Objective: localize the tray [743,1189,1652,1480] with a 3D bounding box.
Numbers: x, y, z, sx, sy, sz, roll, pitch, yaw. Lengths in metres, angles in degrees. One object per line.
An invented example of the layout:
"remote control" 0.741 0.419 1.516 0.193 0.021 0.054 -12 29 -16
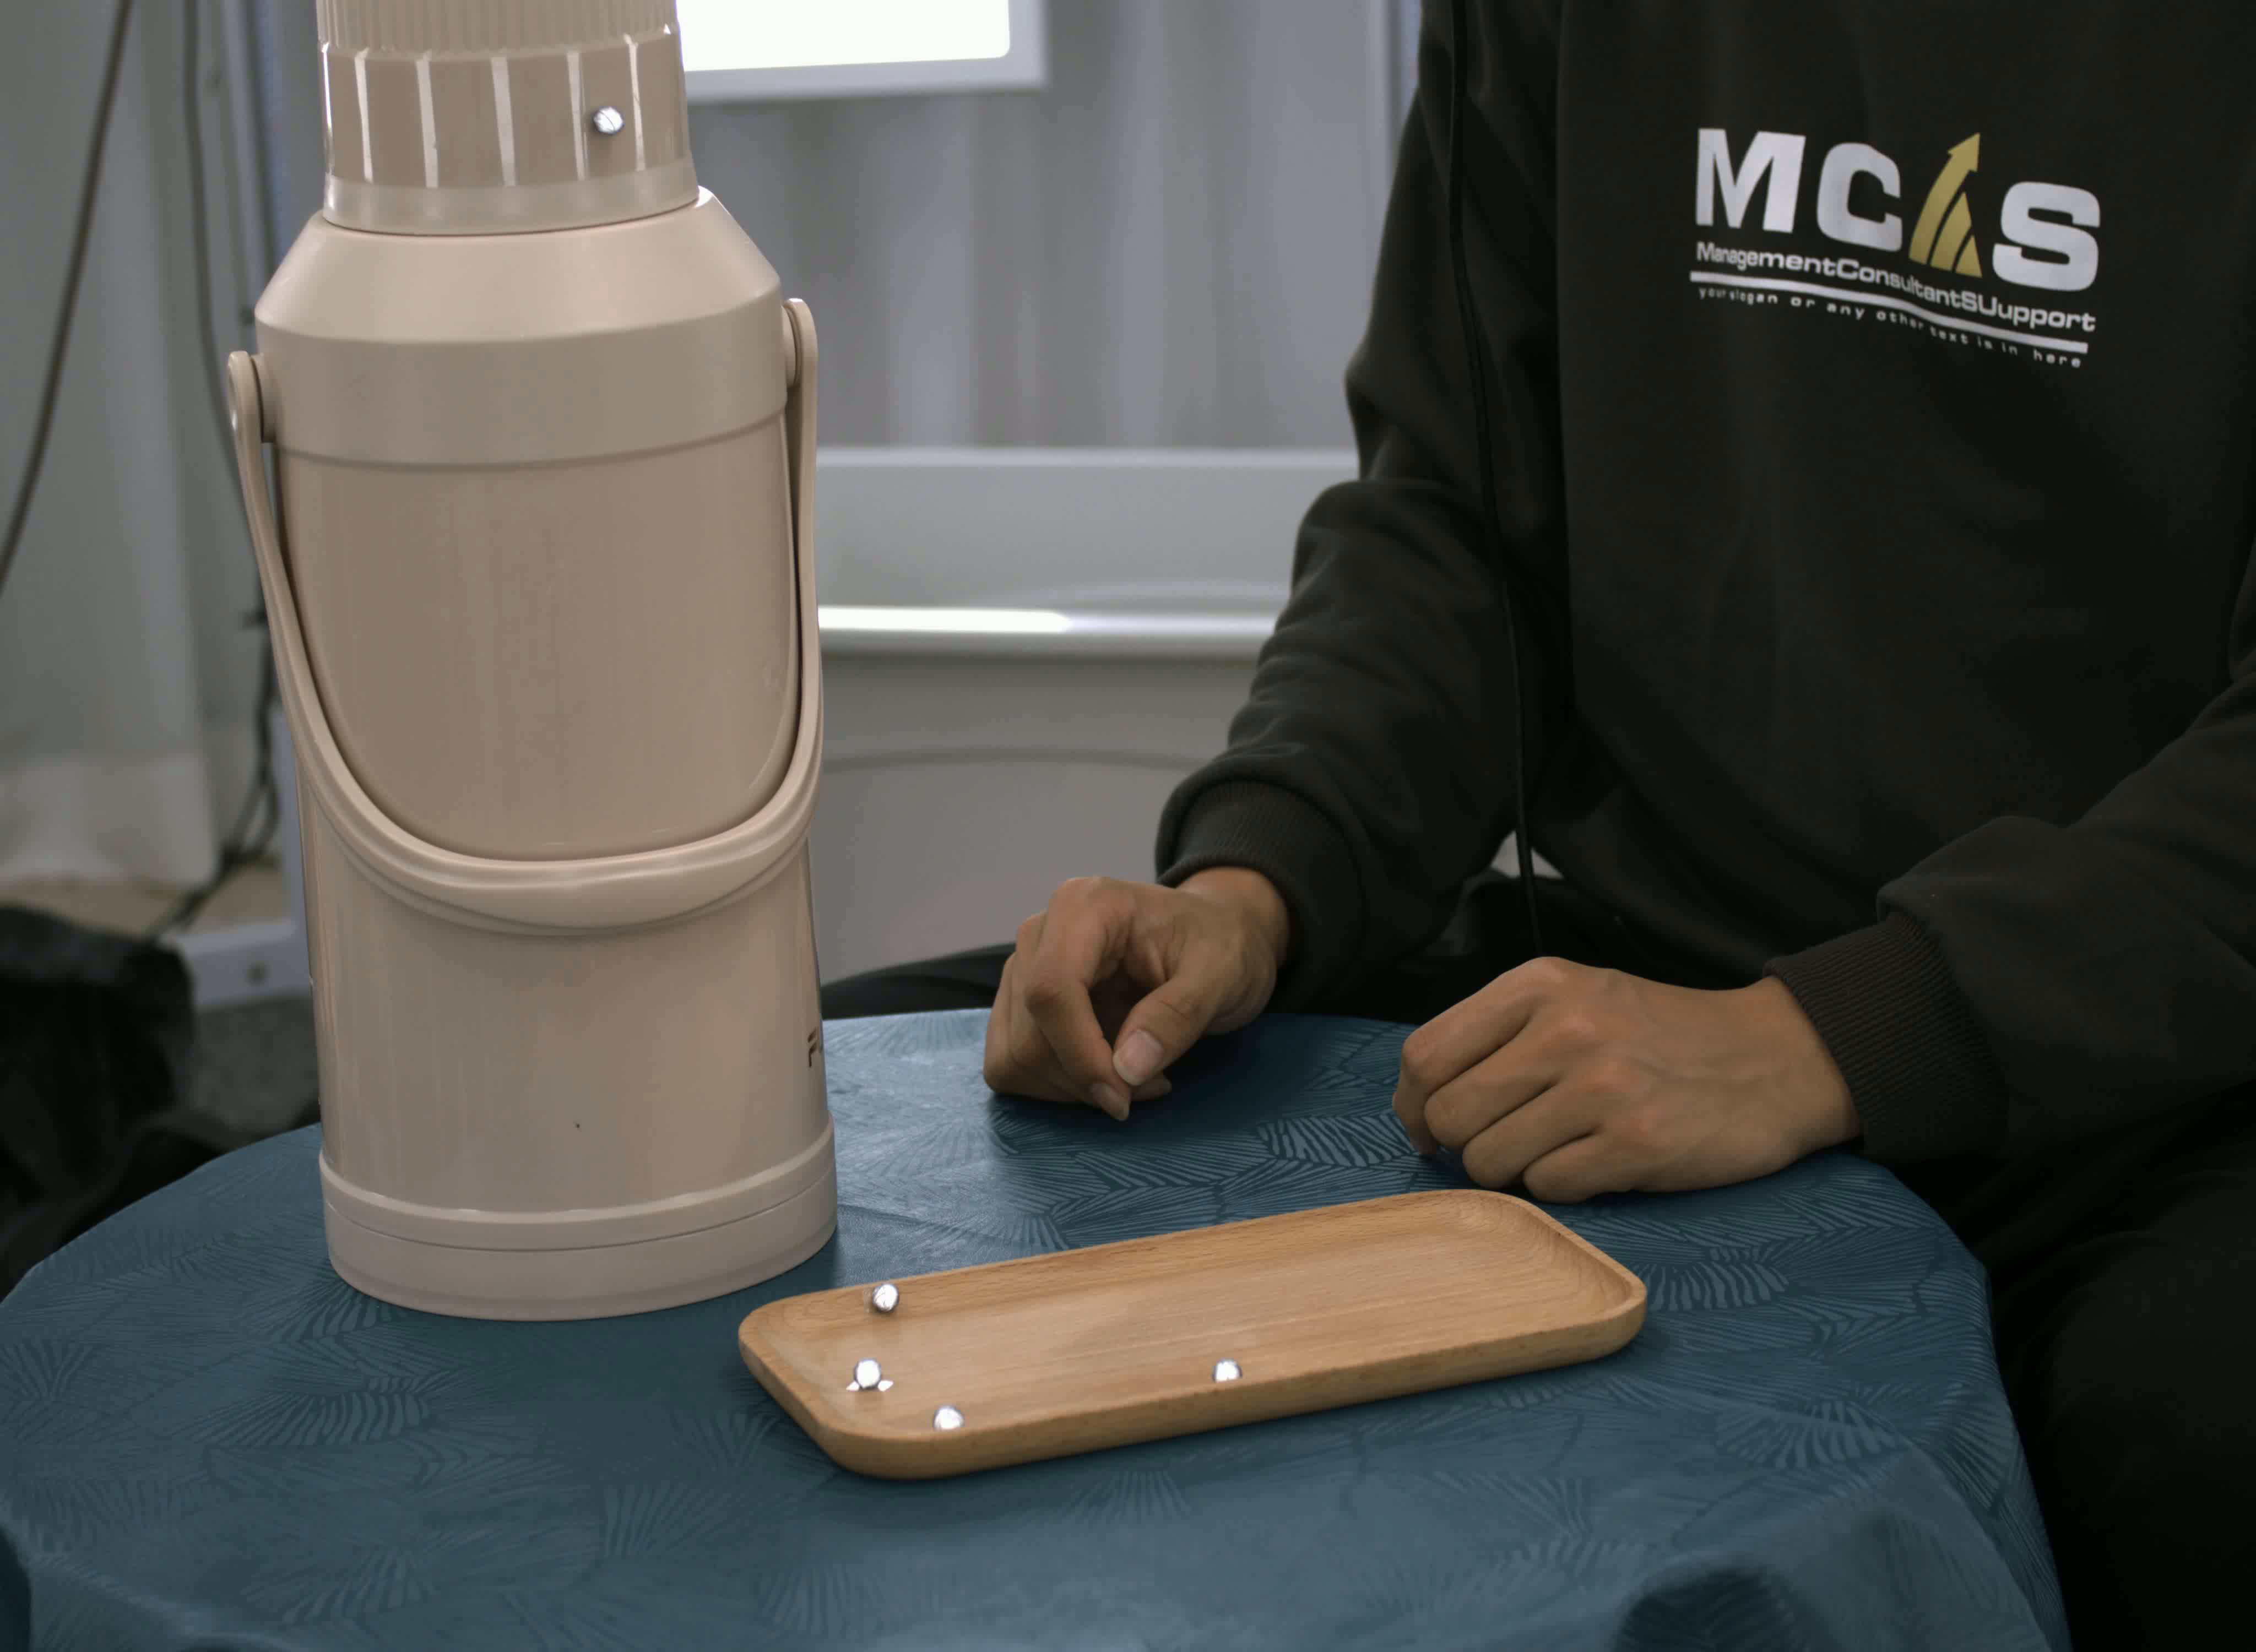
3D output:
"tray" 0.020 0.145 1.571 0.249 0.023 0.132 -7 18 -19

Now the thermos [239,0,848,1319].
"thermos" -0.177 -0.068 1.670 0.174 0.404 0.209 -8 15 -17
